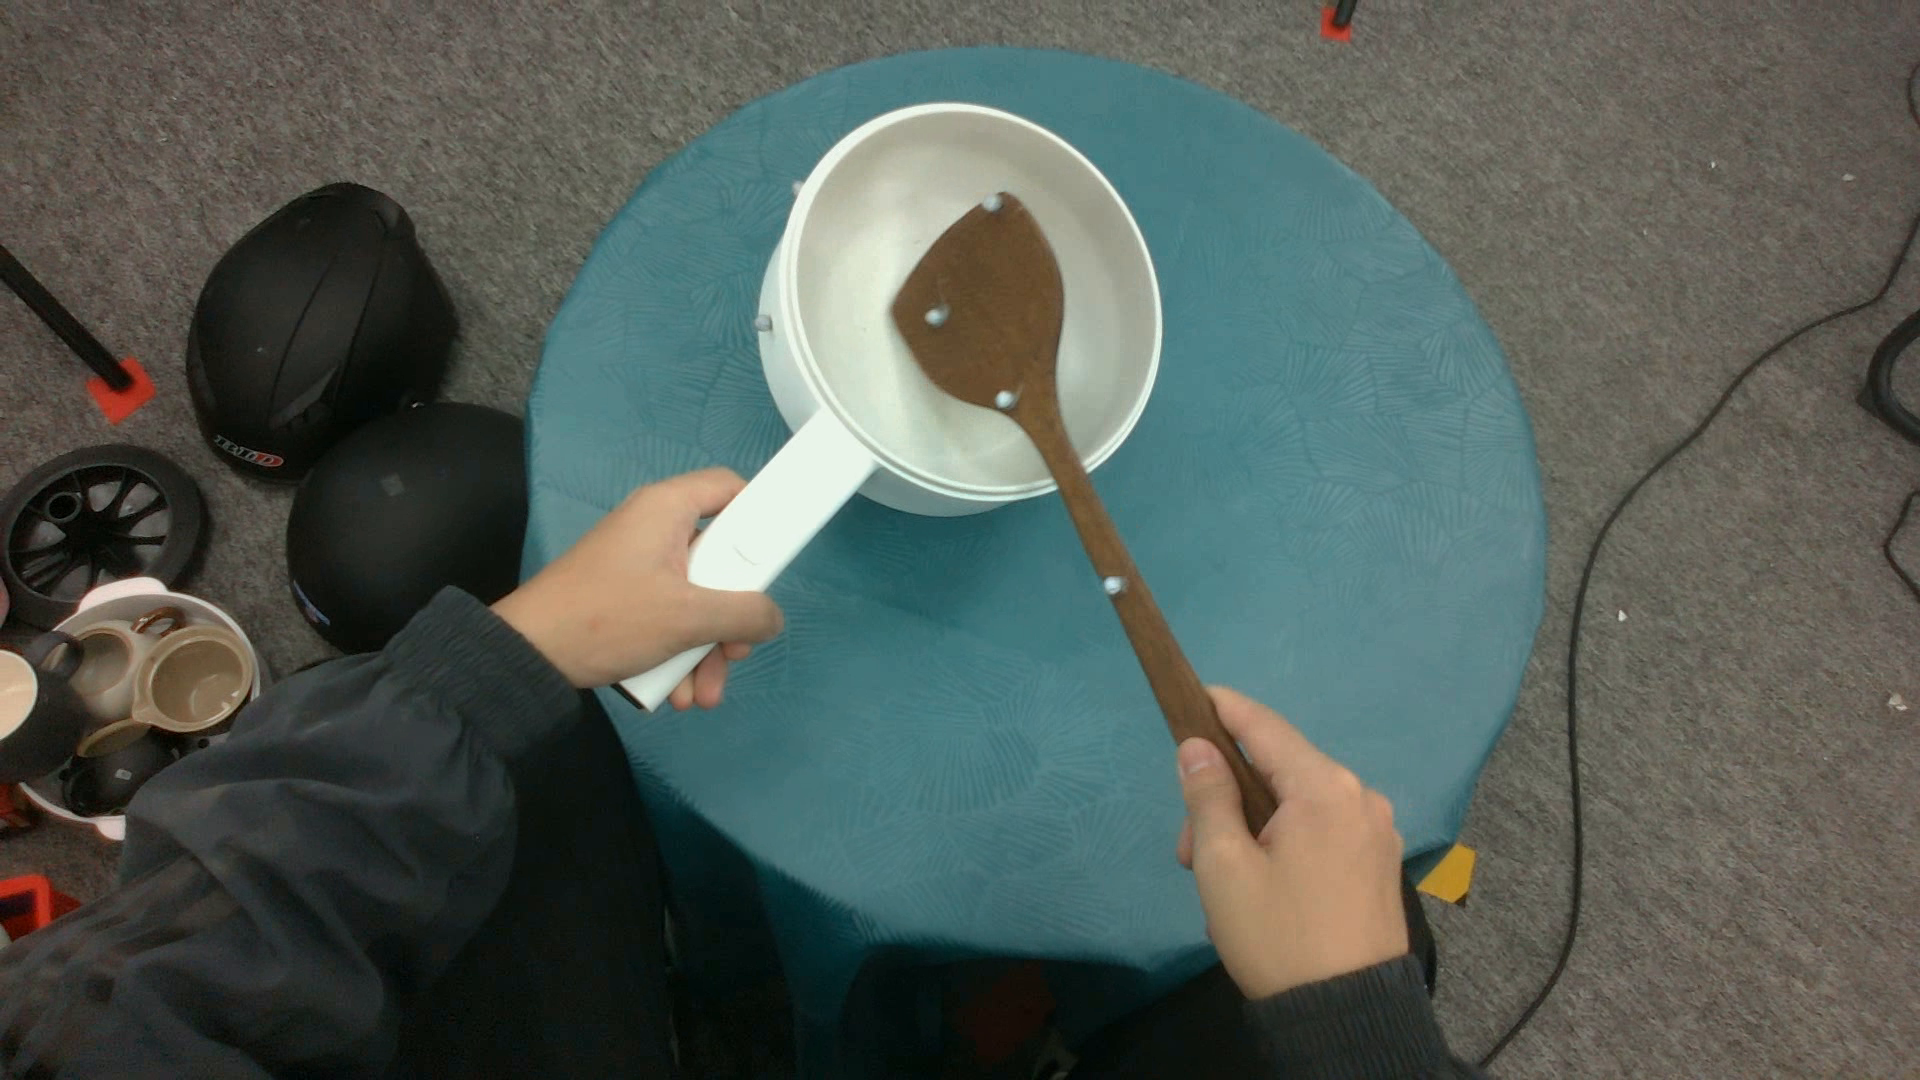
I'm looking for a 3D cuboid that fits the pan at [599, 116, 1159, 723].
[{"bbox_3d":[-0.050,-0.054,0.707,0.201,0.102,0.356,42,72,-9],"label":"pan"}]

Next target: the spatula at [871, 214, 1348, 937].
[{"bbox_3d":[0.066,0.005,0.635,0.096,0.016,0.387,-40,63,22],"label":"spatula"}]
